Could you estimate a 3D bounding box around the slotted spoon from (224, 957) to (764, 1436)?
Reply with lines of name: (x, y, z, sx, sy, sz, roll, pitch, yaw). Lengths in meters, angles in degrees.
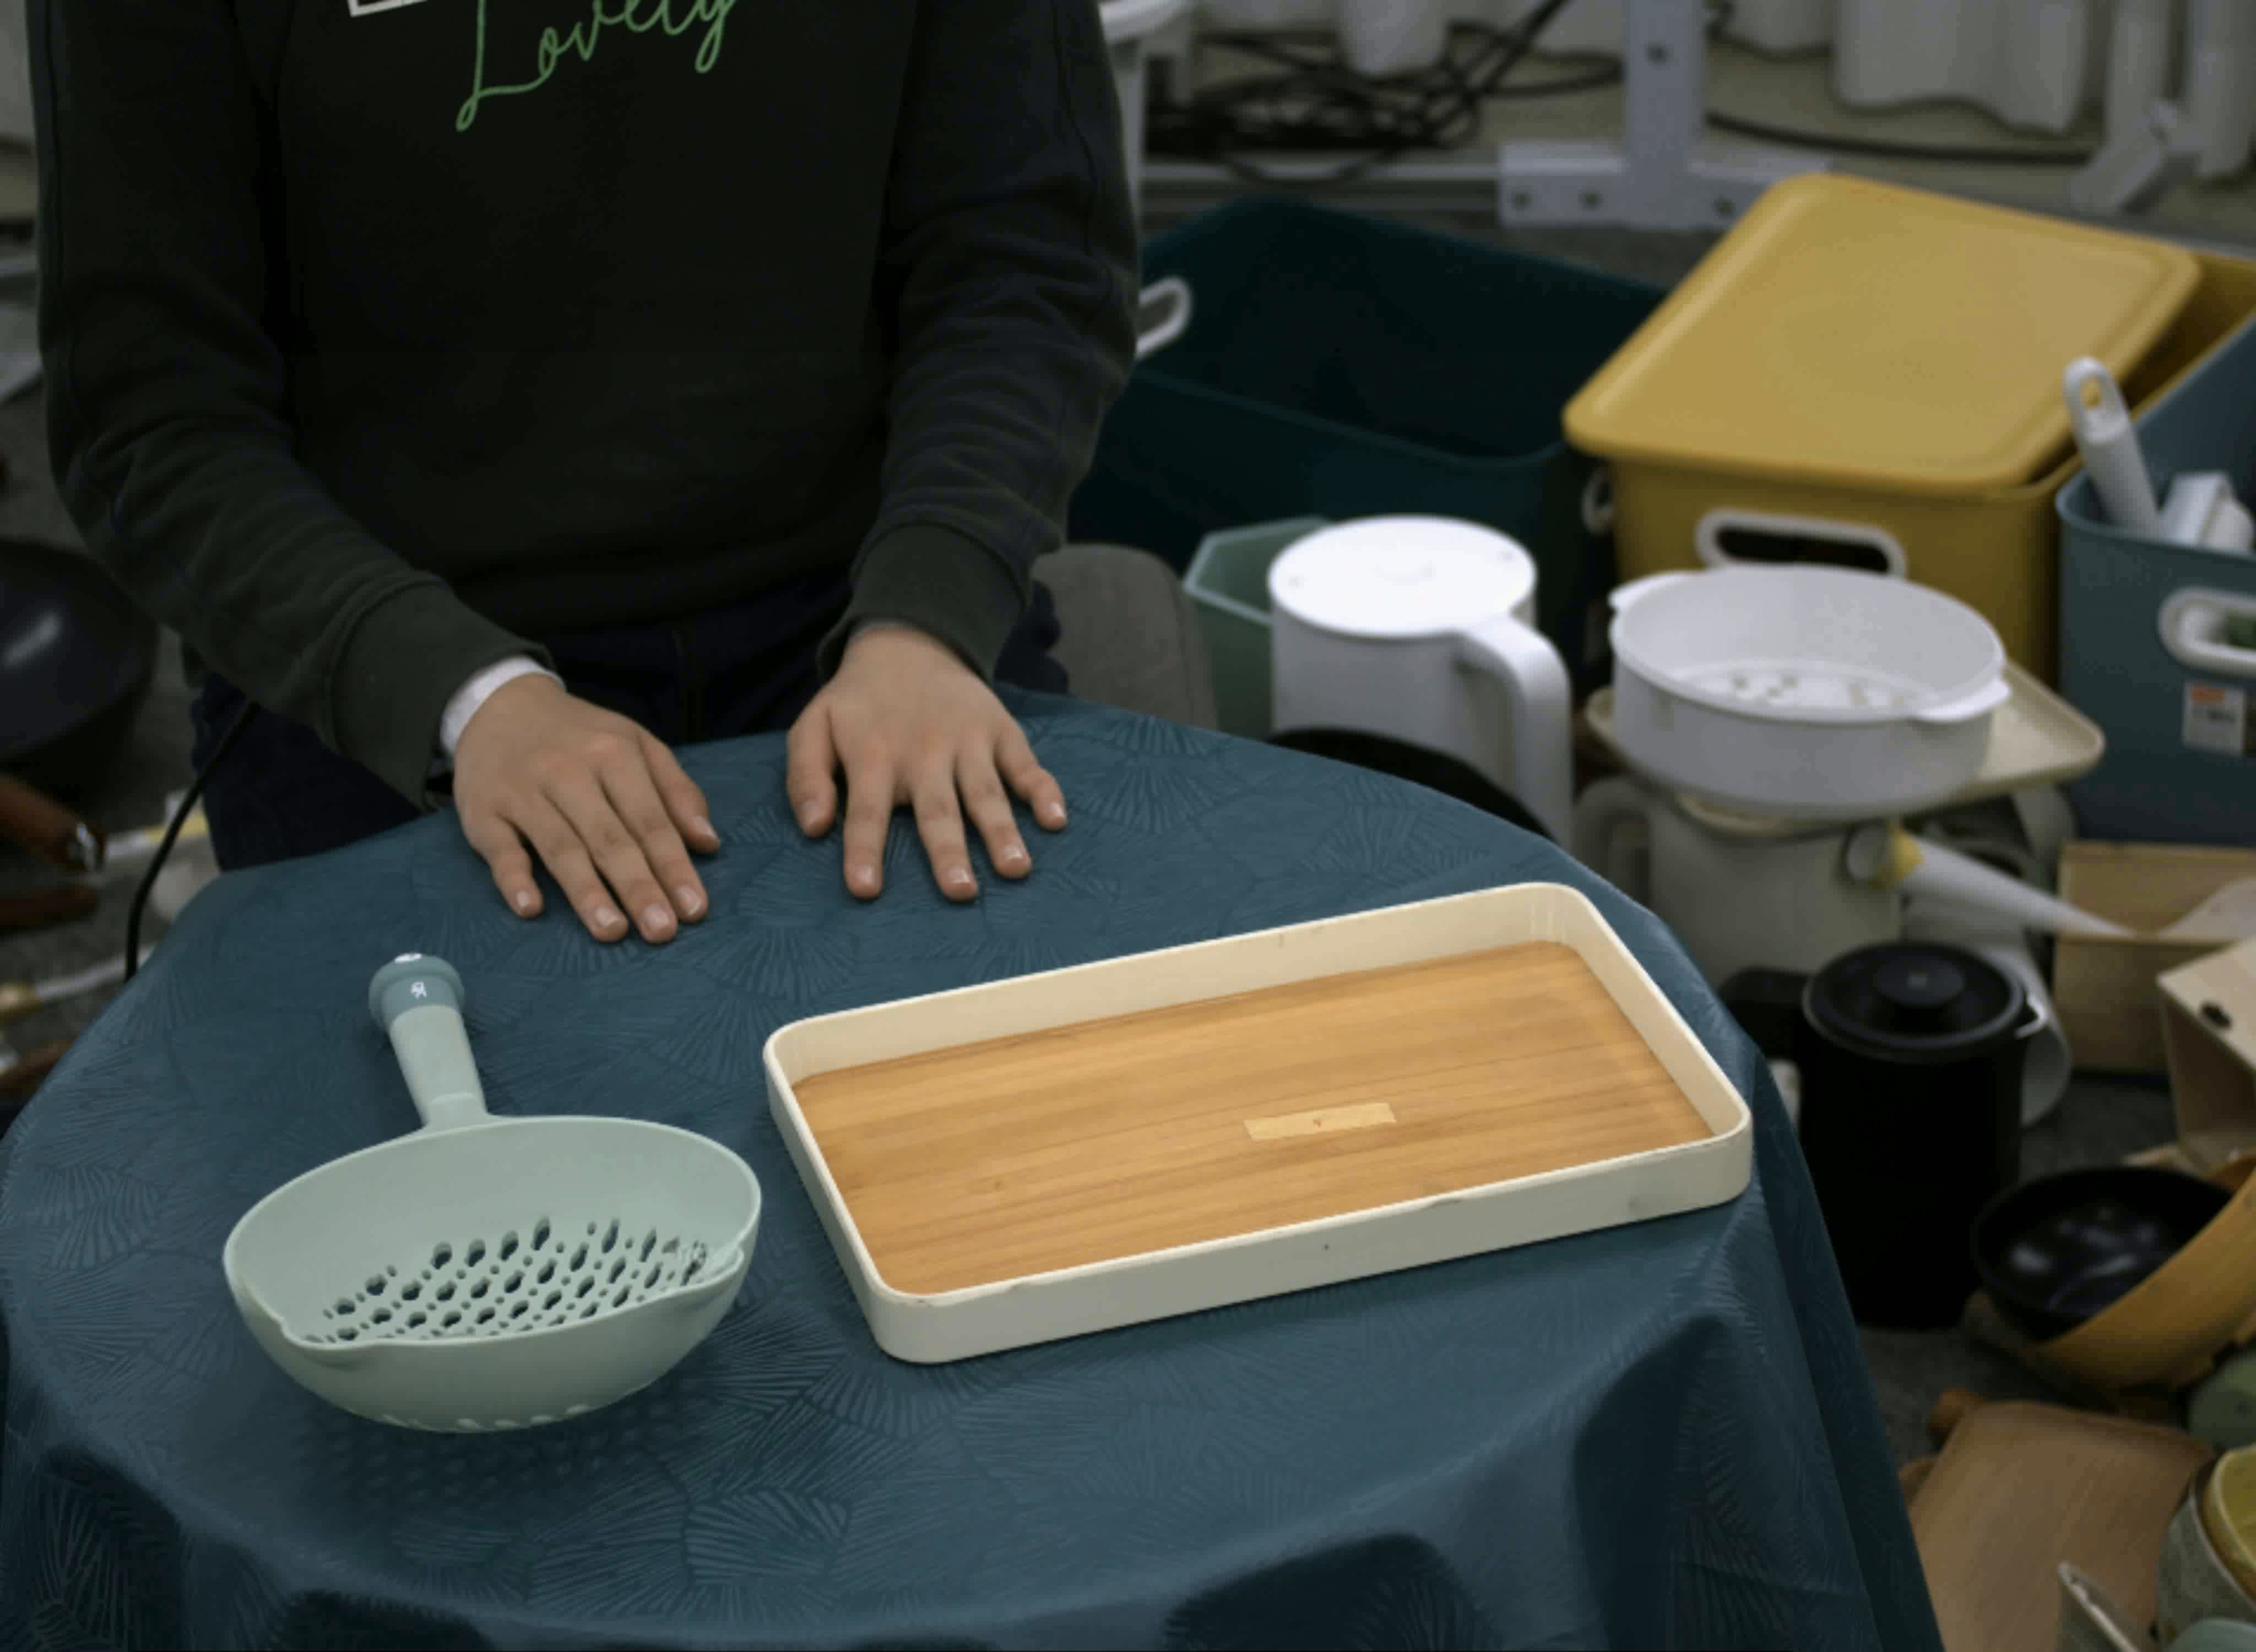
slotted spoon: (-0.218, 0.106, 1.844, 0.169, 0.074, 0.363, -8, 28, -11)

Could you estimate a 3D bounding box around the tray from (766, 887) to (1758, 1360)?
tray: (0.042, 0.096, 1.879, 0.300, 0.027, 0.193, -10, 28, -13)
